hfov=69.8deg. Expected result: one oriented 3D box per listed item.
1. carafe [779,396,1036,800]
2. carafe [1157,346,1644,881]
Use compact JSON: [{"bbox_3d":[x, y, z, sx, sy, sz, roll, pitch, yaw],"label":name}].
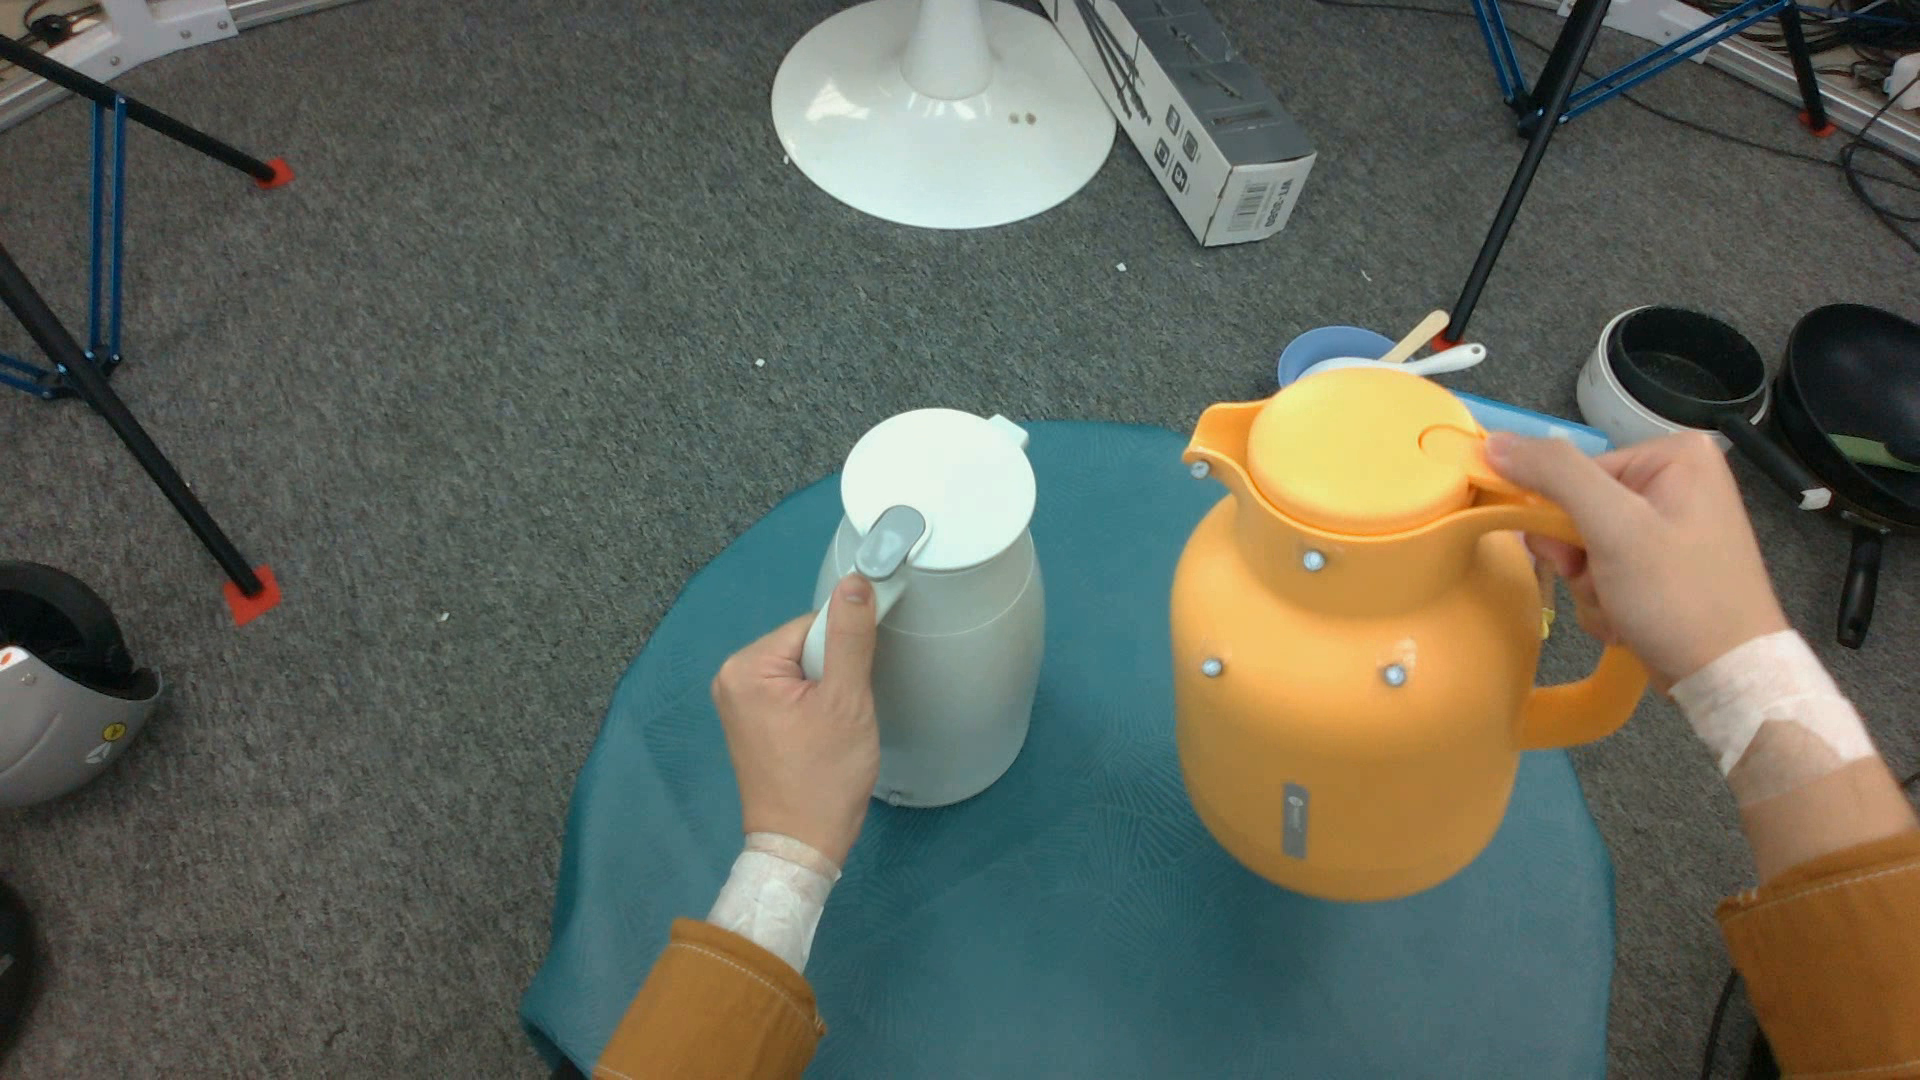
[{"bbox_3d":[-0.032,0.045,0.727,0.132,0.247,0.168,32,61,15],"label":"carafe"},{"bbox_3d":[0.190,0.038,0.625,0.202,0.259,0.164,12,53,24],"label":"carafe"}]
